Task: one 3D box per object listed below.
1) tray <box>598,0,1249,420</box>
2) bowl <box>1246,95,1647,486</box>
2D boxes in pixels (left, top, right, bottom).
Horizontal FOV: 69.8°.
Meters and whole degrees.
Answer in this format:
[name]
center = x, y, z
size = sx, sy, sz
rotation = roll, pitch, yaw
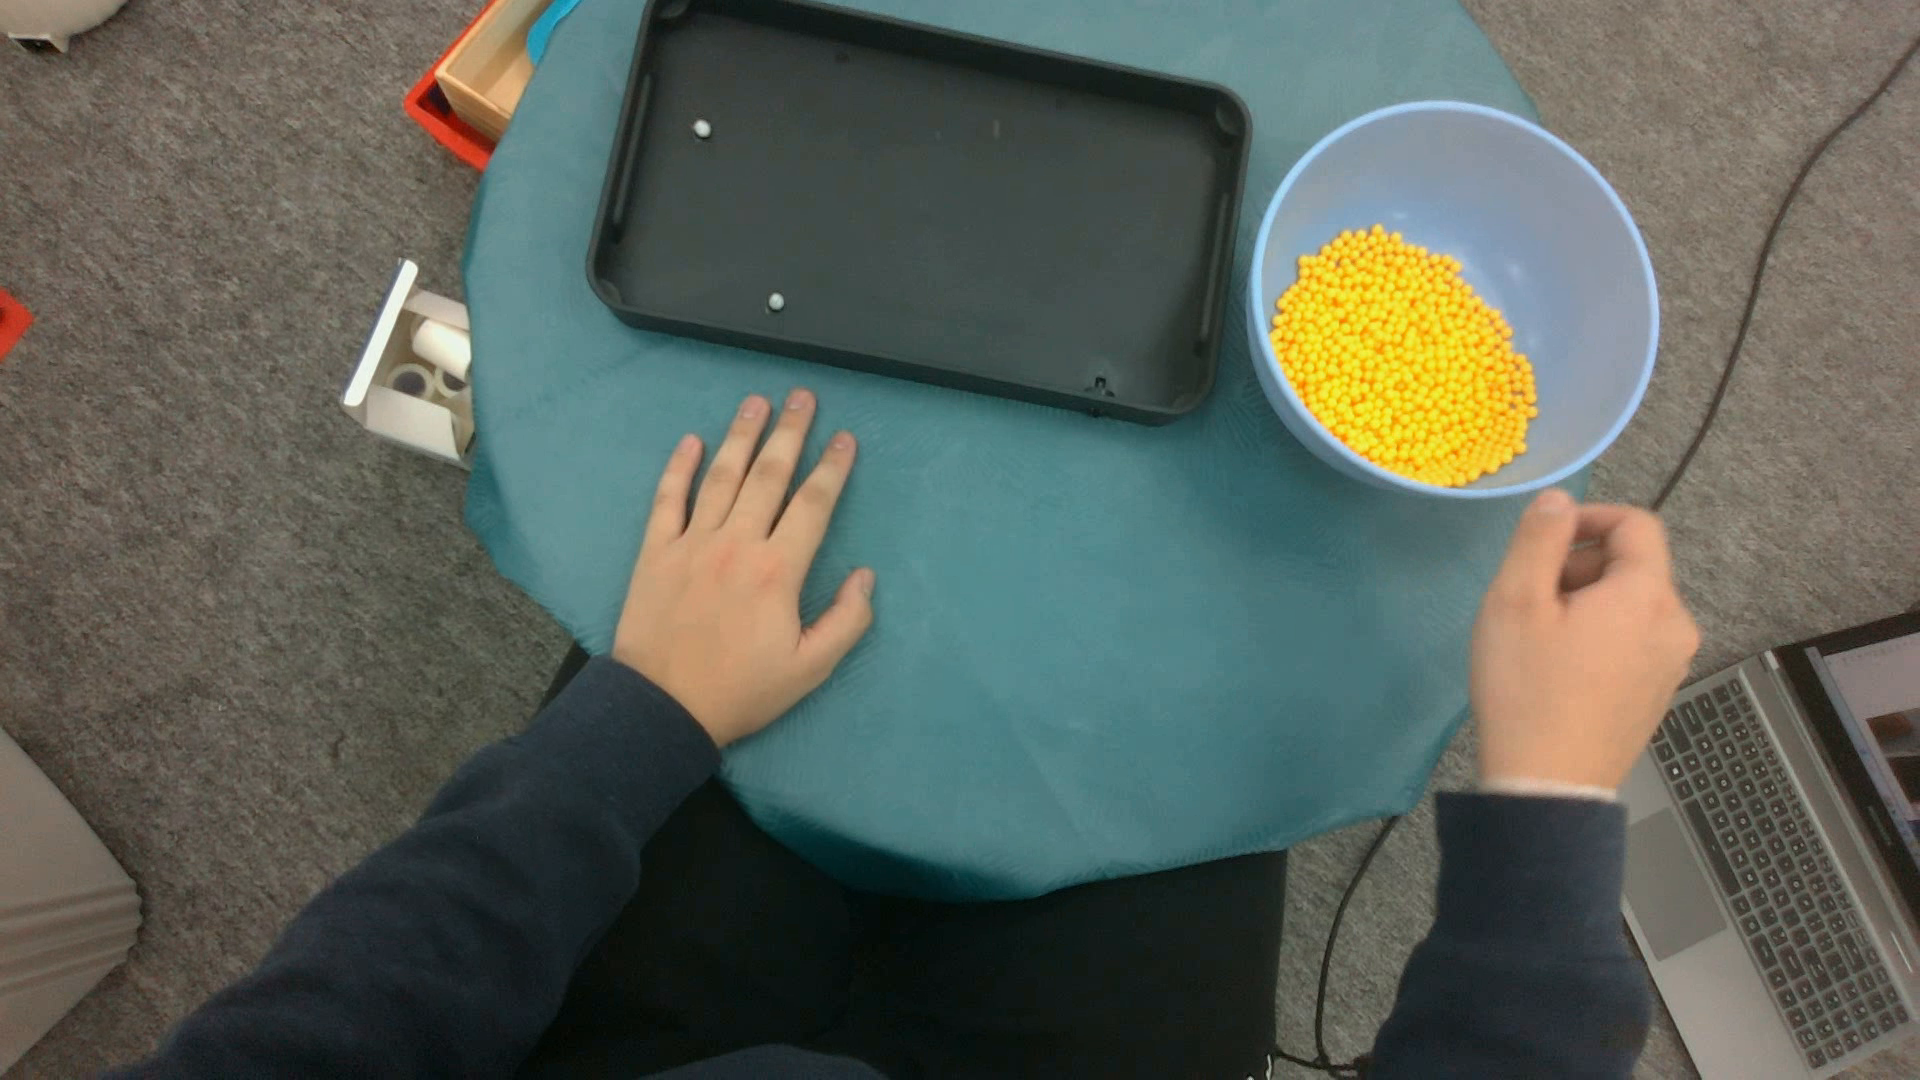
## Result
[tray]
center = -0.015, -0.174, 0.722
size = 0.318, 0.037, 0.184
rotation = 9, 80, -3
[bowl]
center = 0.231, -0.113, 0.701
size = 0.196, 0.095, 0.197
rotation = 1, 79, -5
